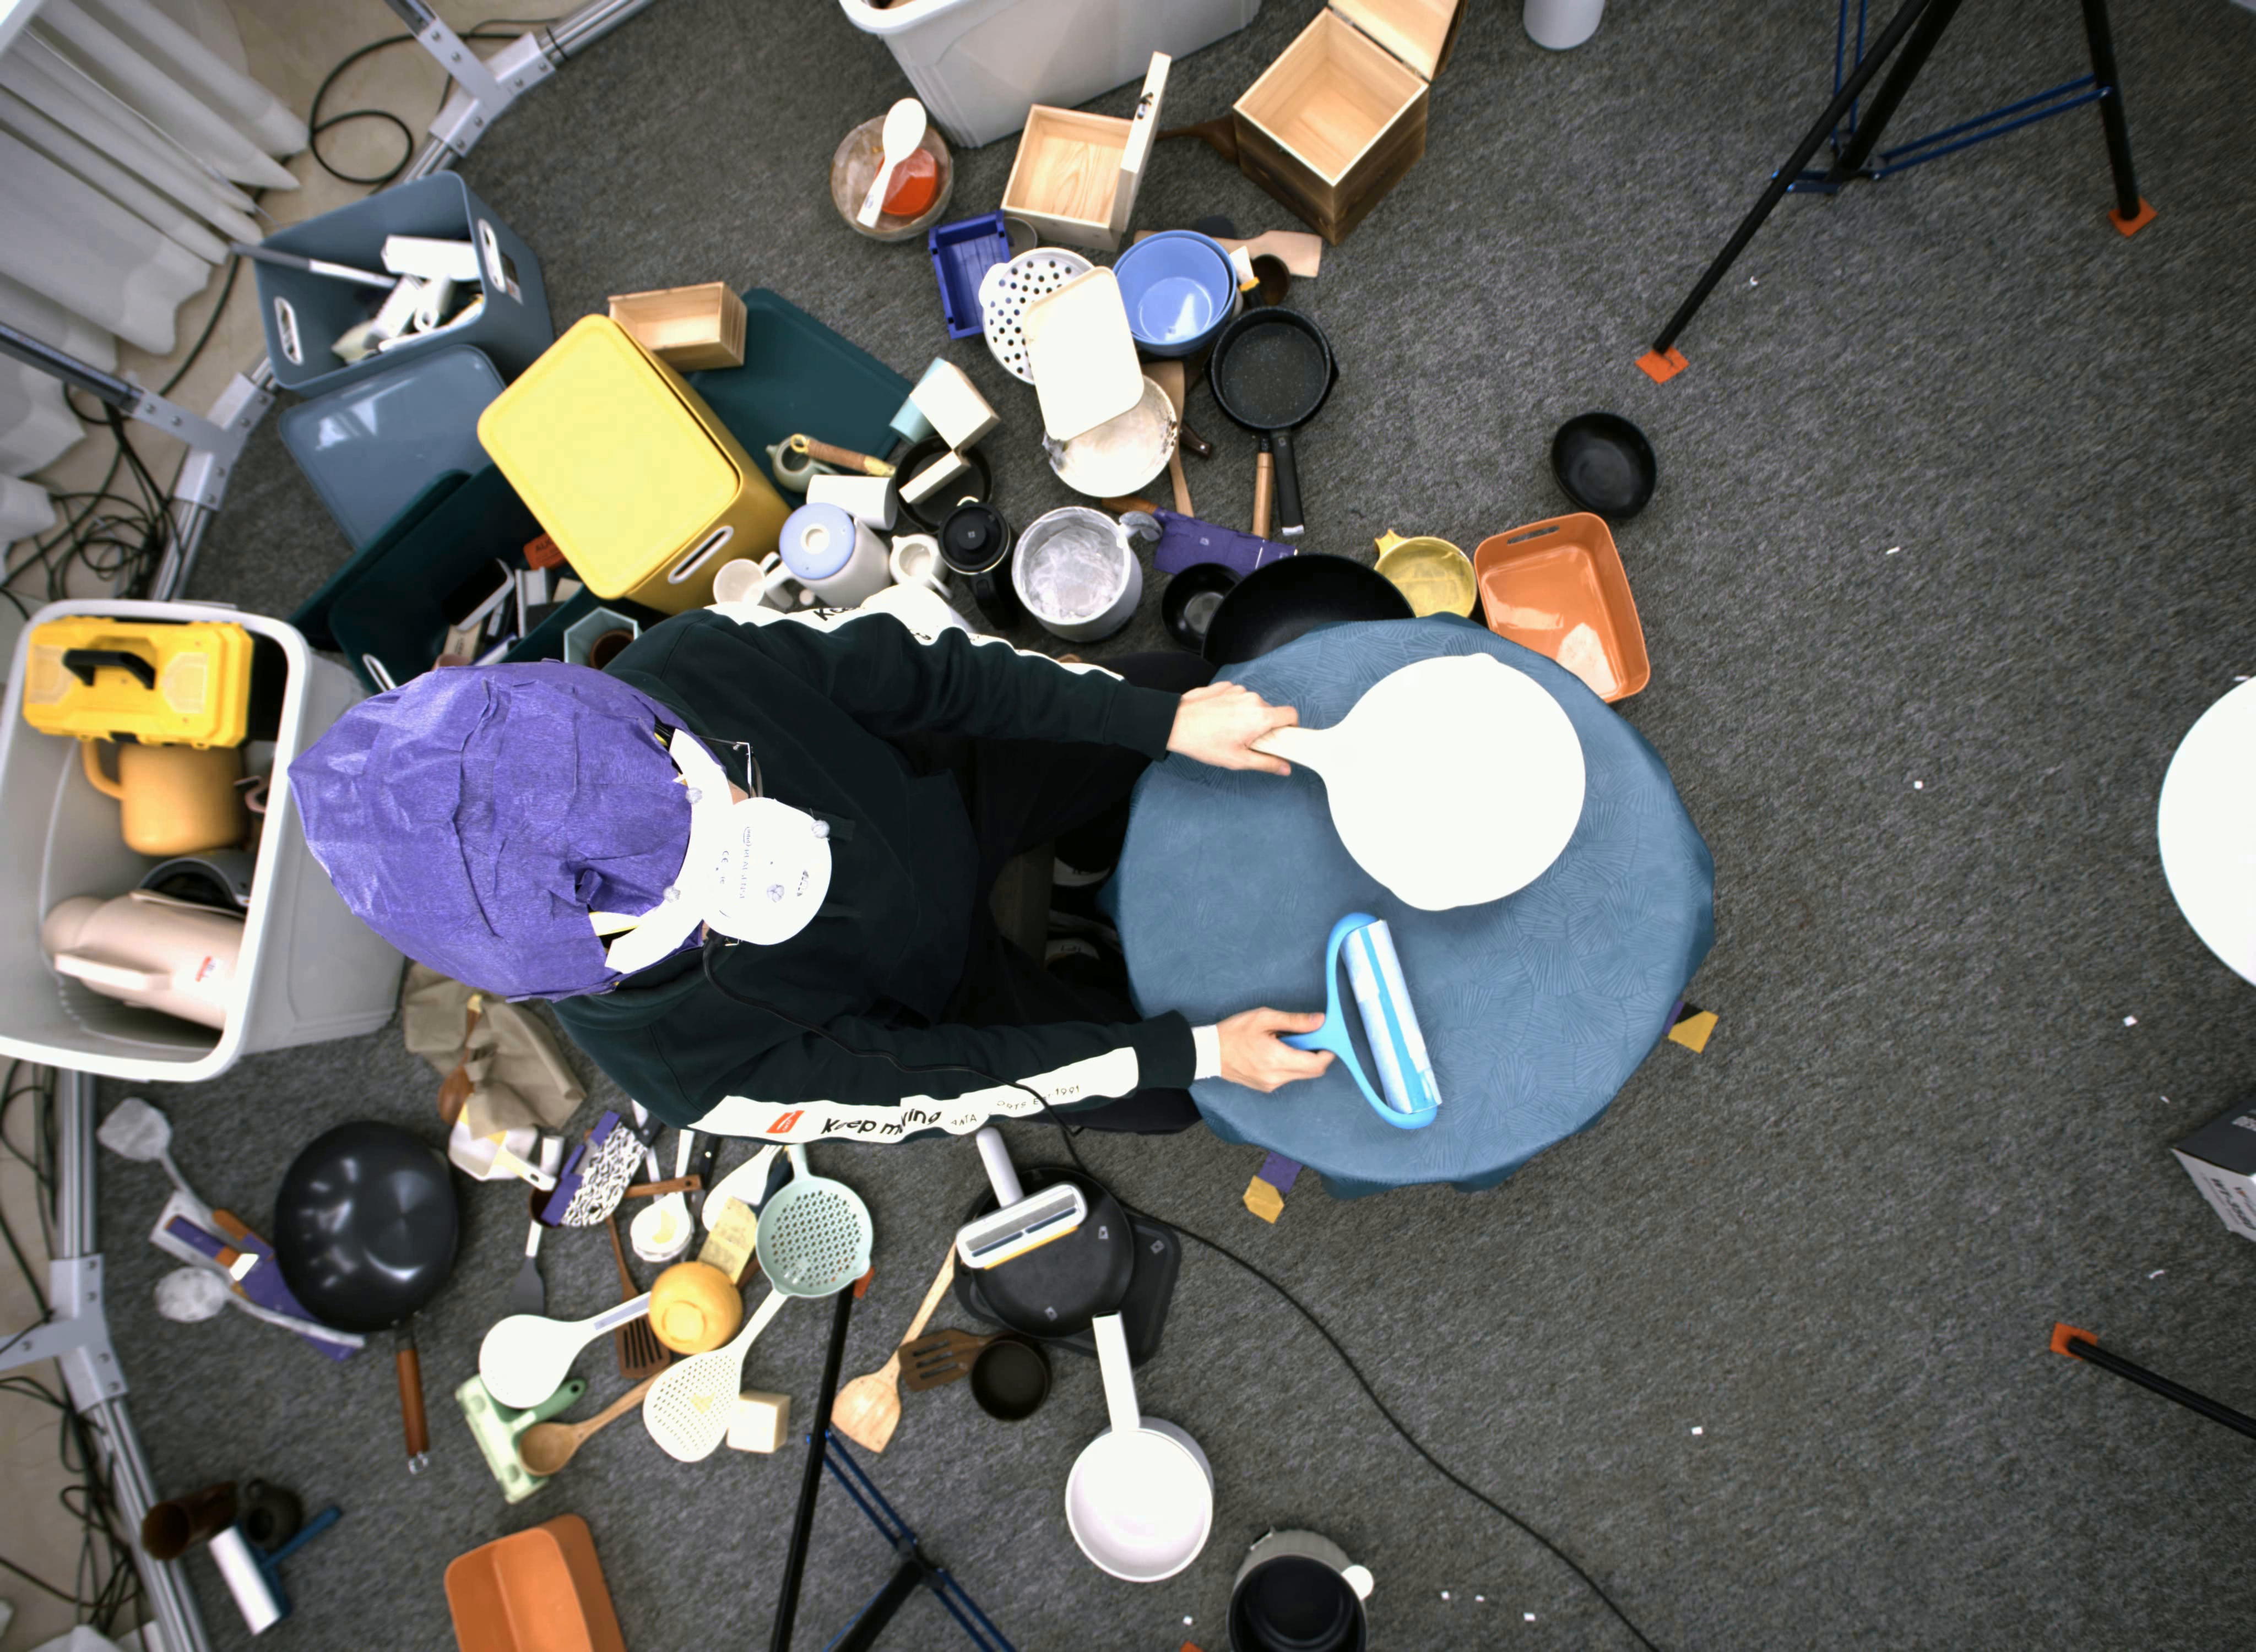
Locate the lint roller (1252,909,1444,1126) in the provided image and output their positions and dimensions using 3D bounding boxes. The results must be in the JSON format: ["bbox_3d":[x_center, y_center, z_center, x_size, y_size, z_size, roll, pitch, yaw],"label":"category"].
[{"bbox_3d":[0.214,0.215,1.429,0.181,0.068,0.228,-20,85,7],"label":"lint roller"}]

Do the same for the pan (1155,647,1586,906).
[{"bbox_3d":[0.246,-0.068,1.417,0.435,0.102,0.263,13,90,18],"label":"pan"}]
